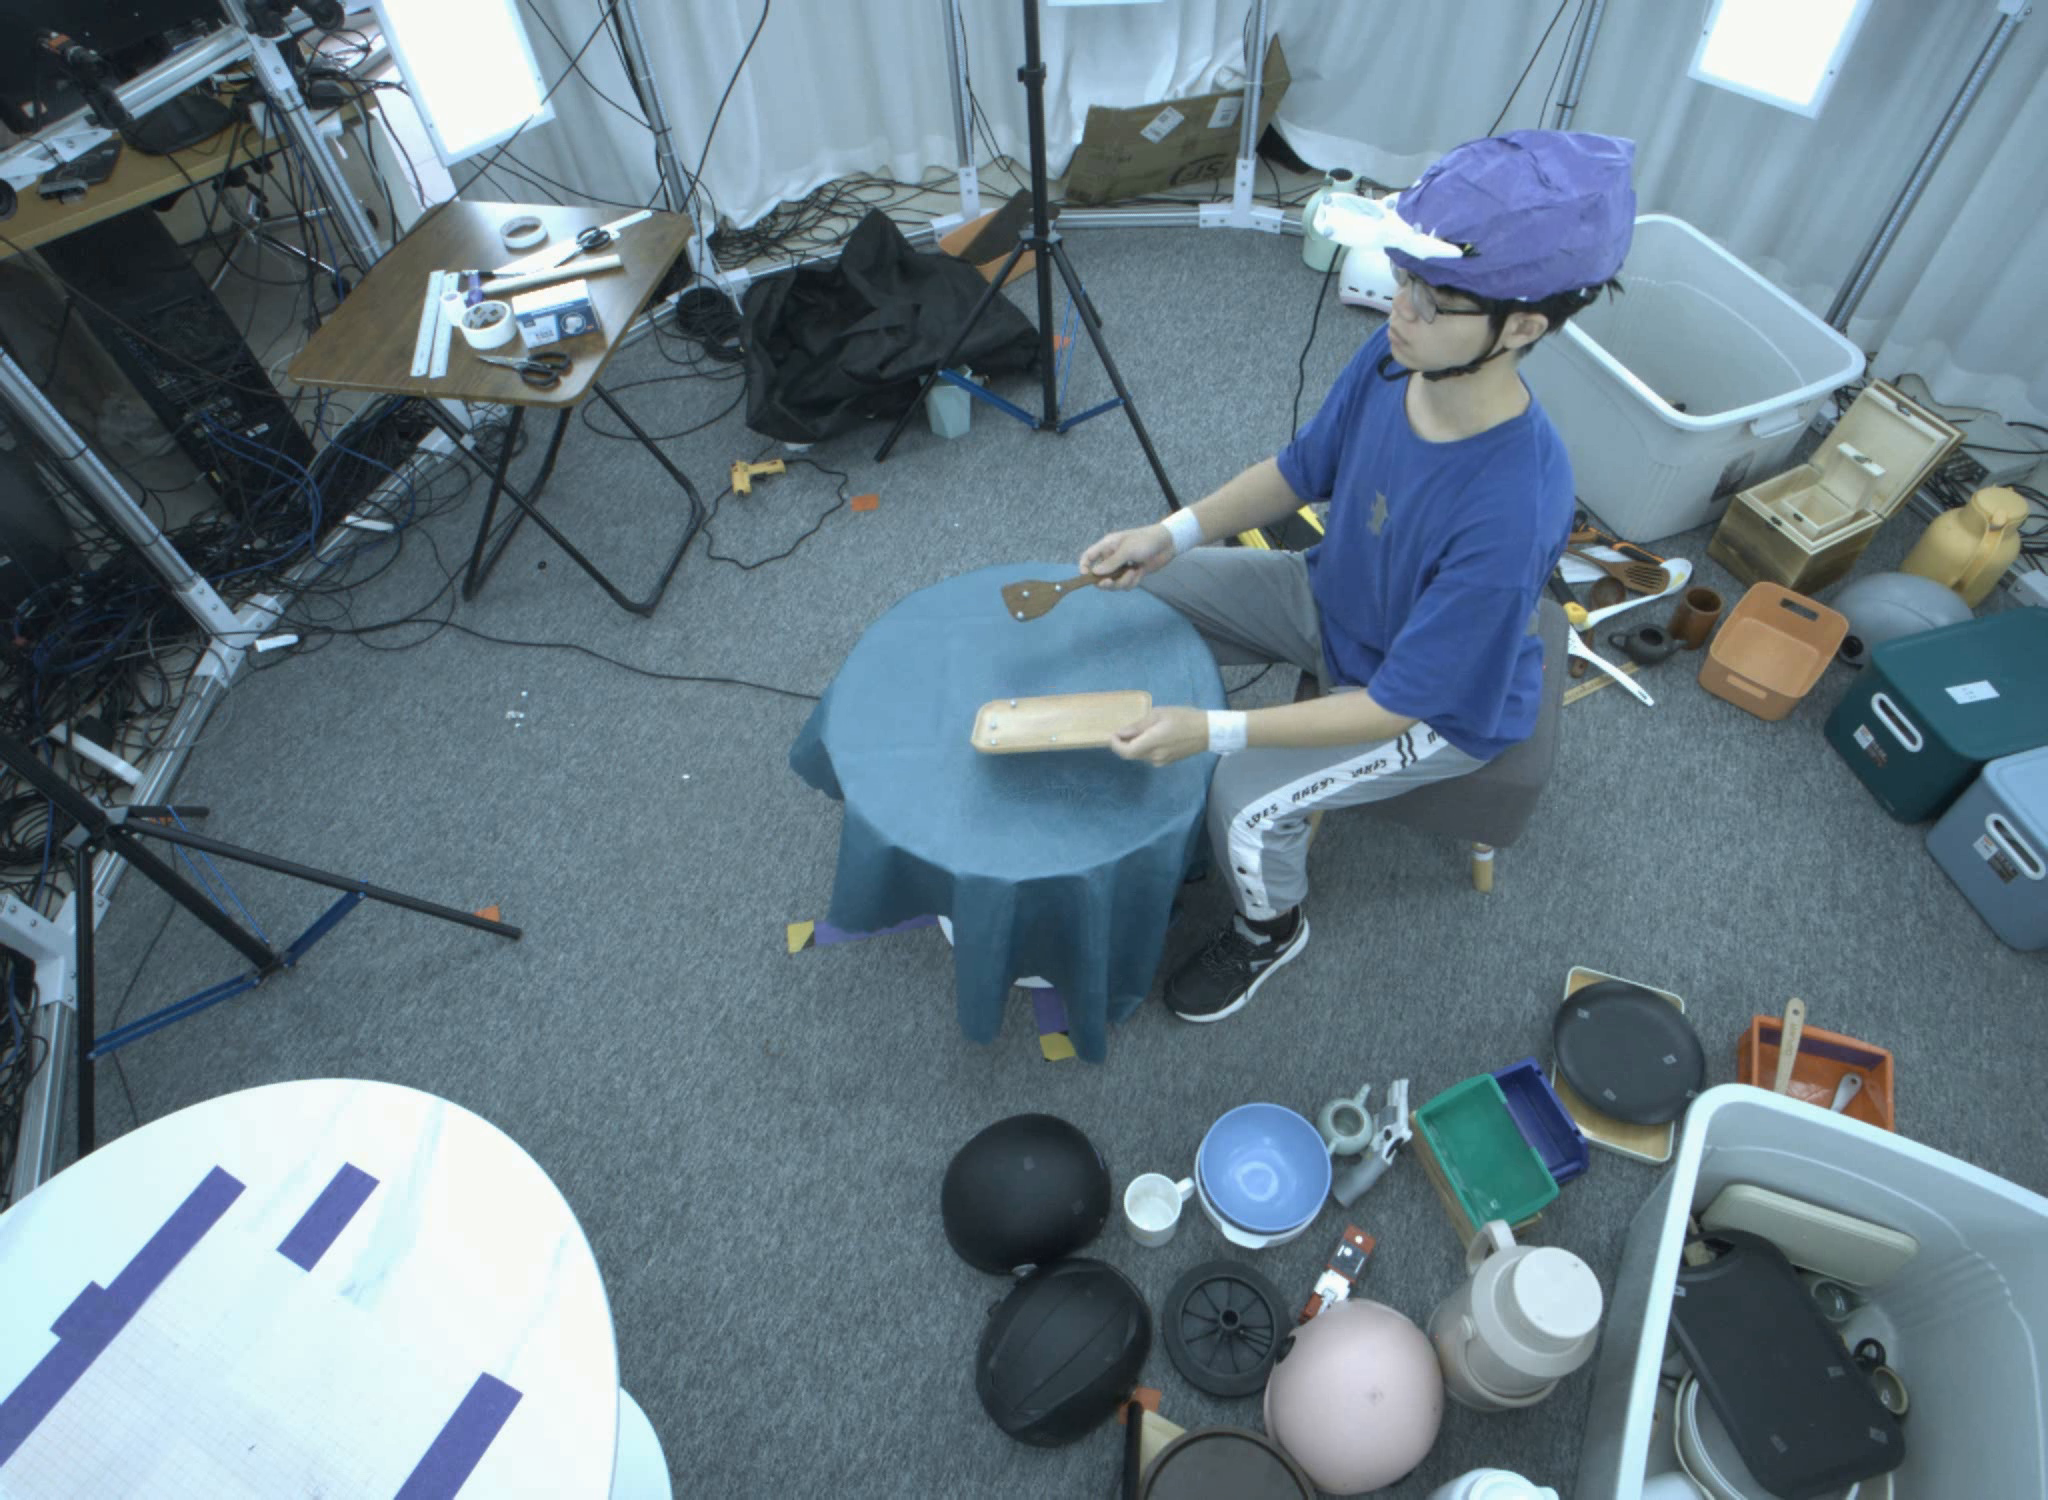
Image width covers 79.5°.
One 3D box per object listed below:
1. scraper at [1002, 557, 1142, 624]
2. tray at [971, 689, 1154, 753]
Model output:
[{"bbox_3d":[0.074,-0.244,1.817,0.212,0.011,0.075,-20,64,-10],"label":"scraper"},{"bbox_3d":[0.055,-0.040,1.708,0.249,0.023,0.129,-2,36,9],"label":"tray"}]
